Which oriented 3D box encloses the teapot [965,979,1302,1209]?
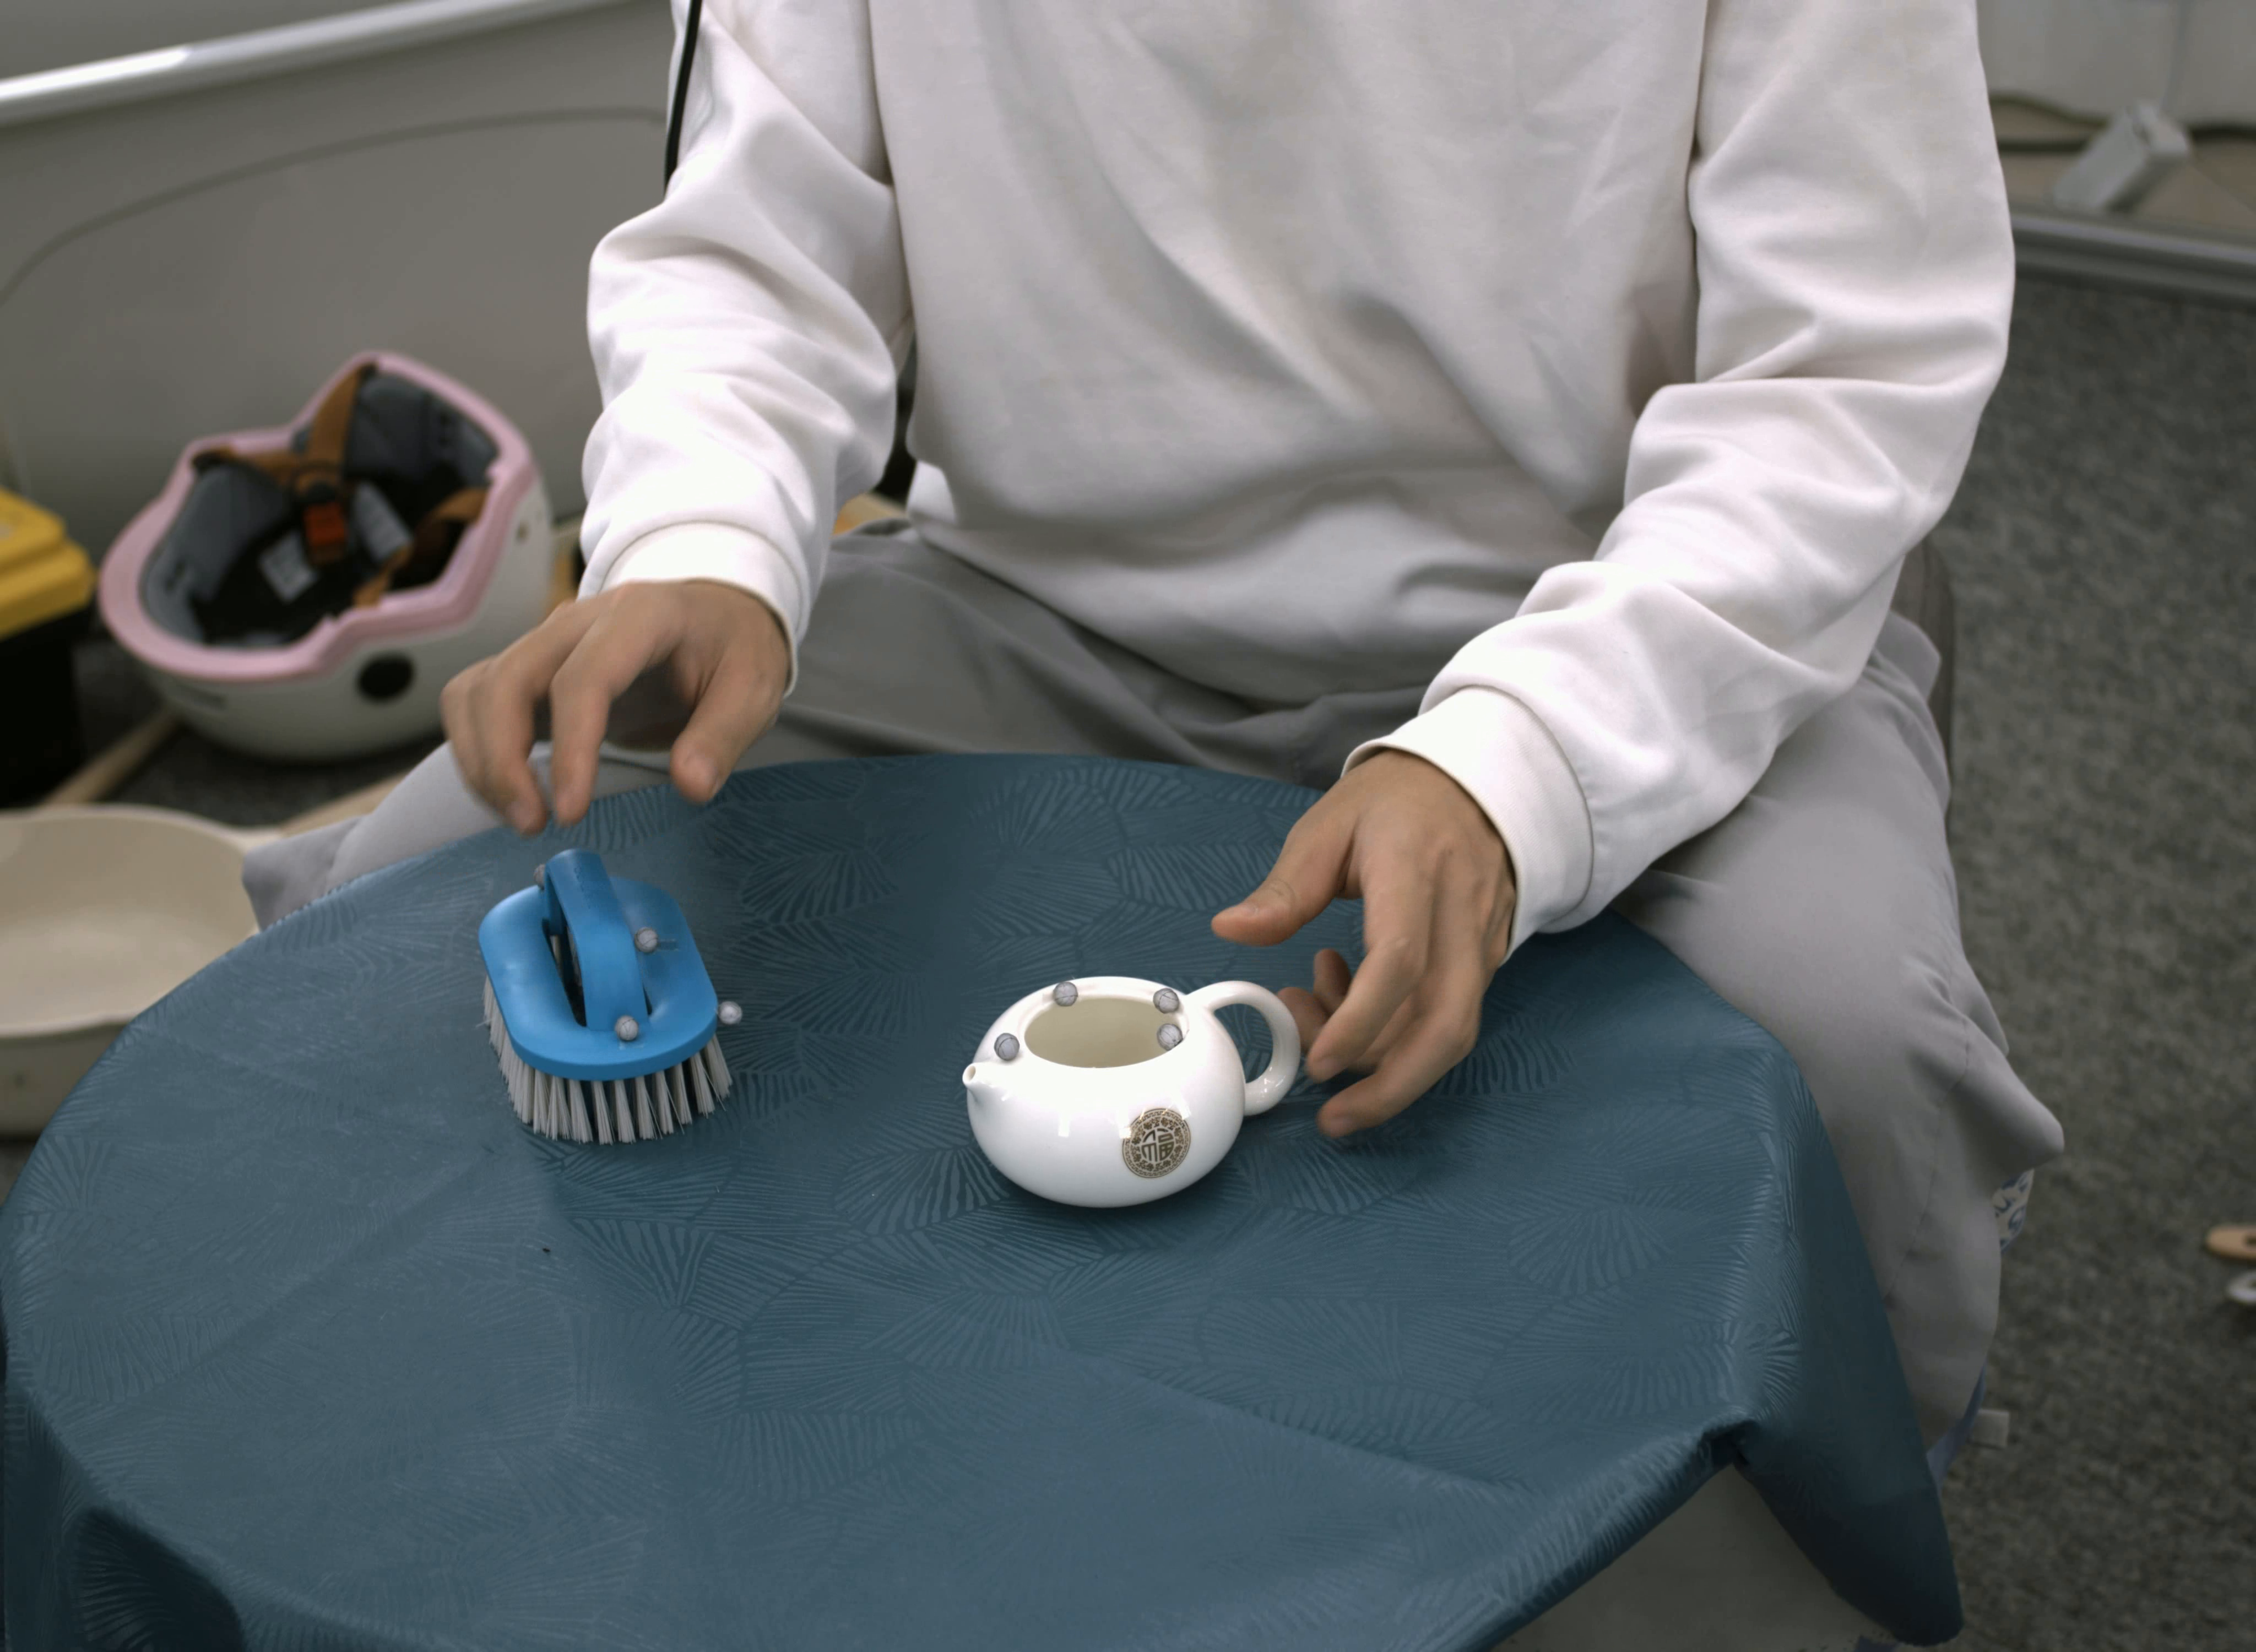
[{"bbox_3d":[0.003,0.087,1.874,0.128,0.056,0.093,-19,27,-30],"label":"teapot"}]

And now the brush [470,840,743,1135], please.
[{"bbox_3d":[-0.185,0.048,1.952,0.084,0.063,0.143,-12,28,-9],"label":"brush"}]
